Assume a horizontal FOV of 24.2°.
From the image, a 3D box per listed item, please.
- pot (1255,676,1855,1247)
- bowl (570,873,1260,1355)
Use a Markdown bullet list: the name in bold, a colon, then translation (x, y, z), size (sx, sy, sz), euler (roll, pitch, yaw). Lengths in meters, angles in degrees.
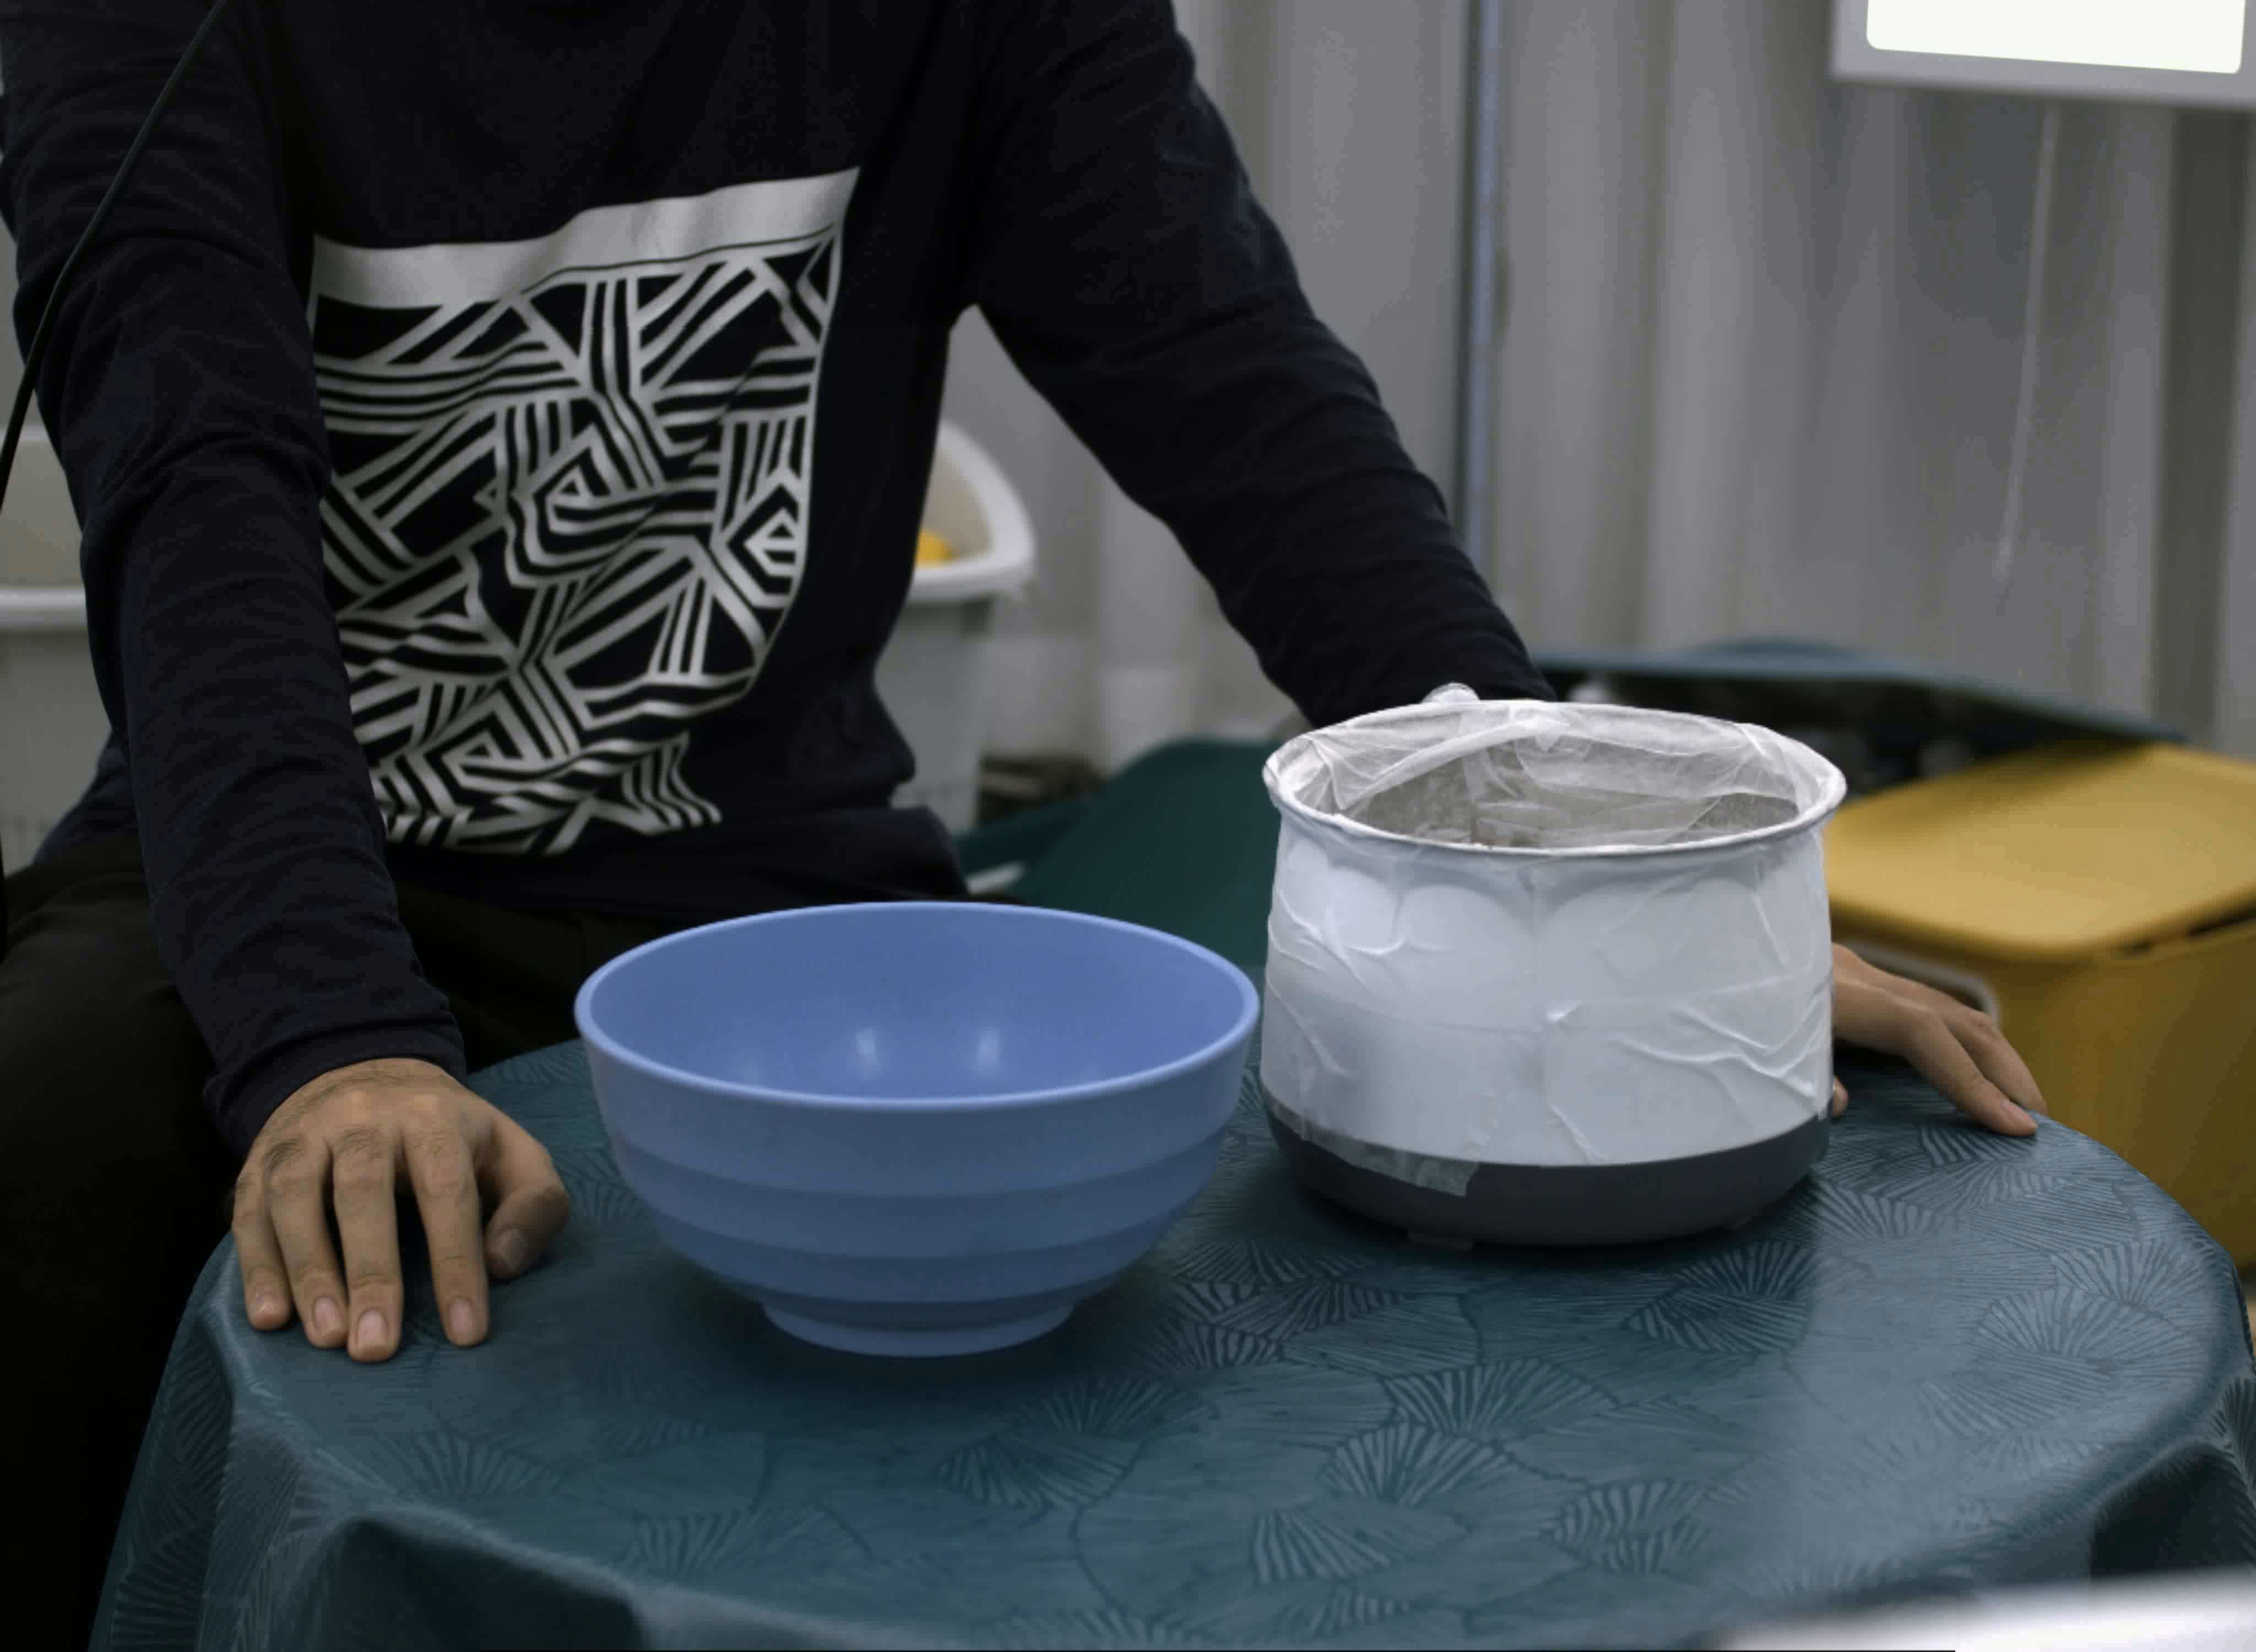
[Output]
- **pot**: translation (0.121, 0.037, 1.641), size (0.179, 0.137, 0.231), euler (-1, 16, -17)
- **bowl**: translation (-0.060, 0.090, 1.513), size (0.196, 0.096, 0.195), euler (0, 20, 1)
